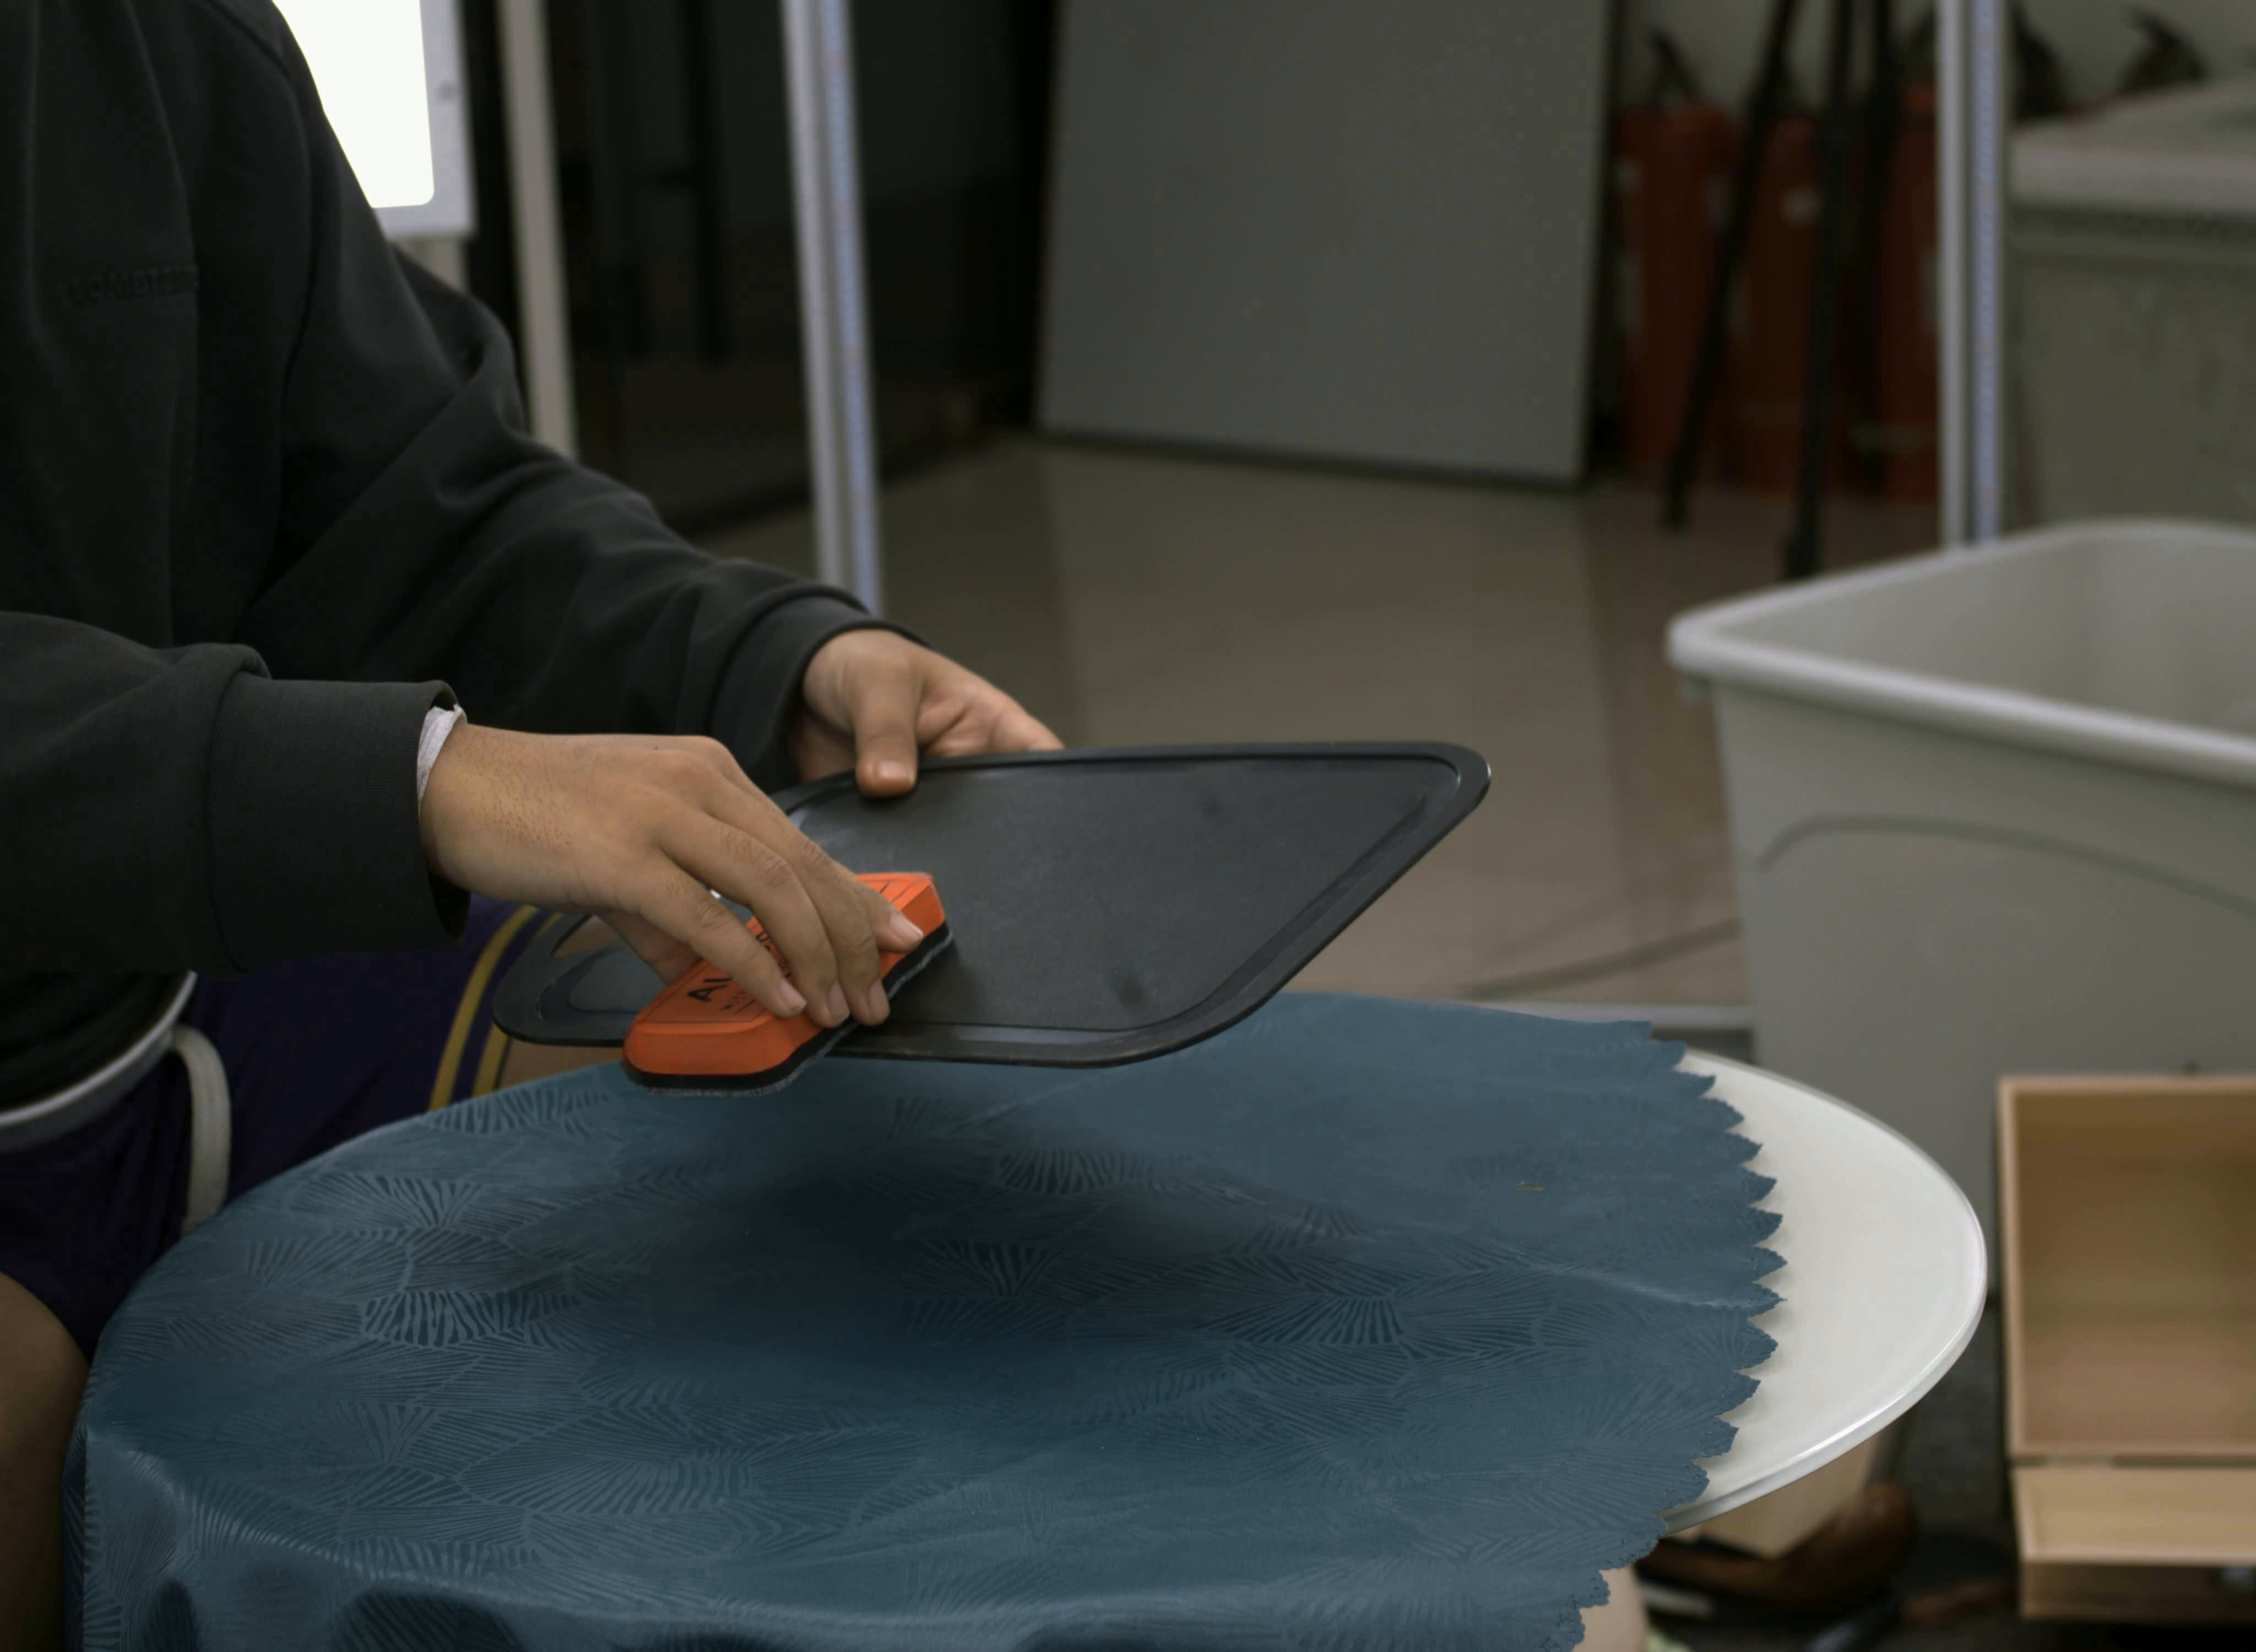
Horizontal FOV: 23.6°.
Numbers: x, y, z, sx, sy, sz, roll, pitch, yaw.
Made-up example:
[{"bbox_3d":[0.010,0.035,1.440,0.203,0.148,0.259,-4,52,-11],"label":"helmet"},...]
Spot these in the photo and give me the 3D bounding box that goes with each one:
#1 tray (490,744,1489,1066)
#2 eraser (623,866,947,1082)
[{"bbox_3d":[-0.054,0.021,1.723,0.328,0.010,0.208,0,27,40],"label":"tray"},{"bbox_3d":[-0.105,0.045,1.664,0.059,0.023,0.107,-3,23,35],"label":"eraser"}]
